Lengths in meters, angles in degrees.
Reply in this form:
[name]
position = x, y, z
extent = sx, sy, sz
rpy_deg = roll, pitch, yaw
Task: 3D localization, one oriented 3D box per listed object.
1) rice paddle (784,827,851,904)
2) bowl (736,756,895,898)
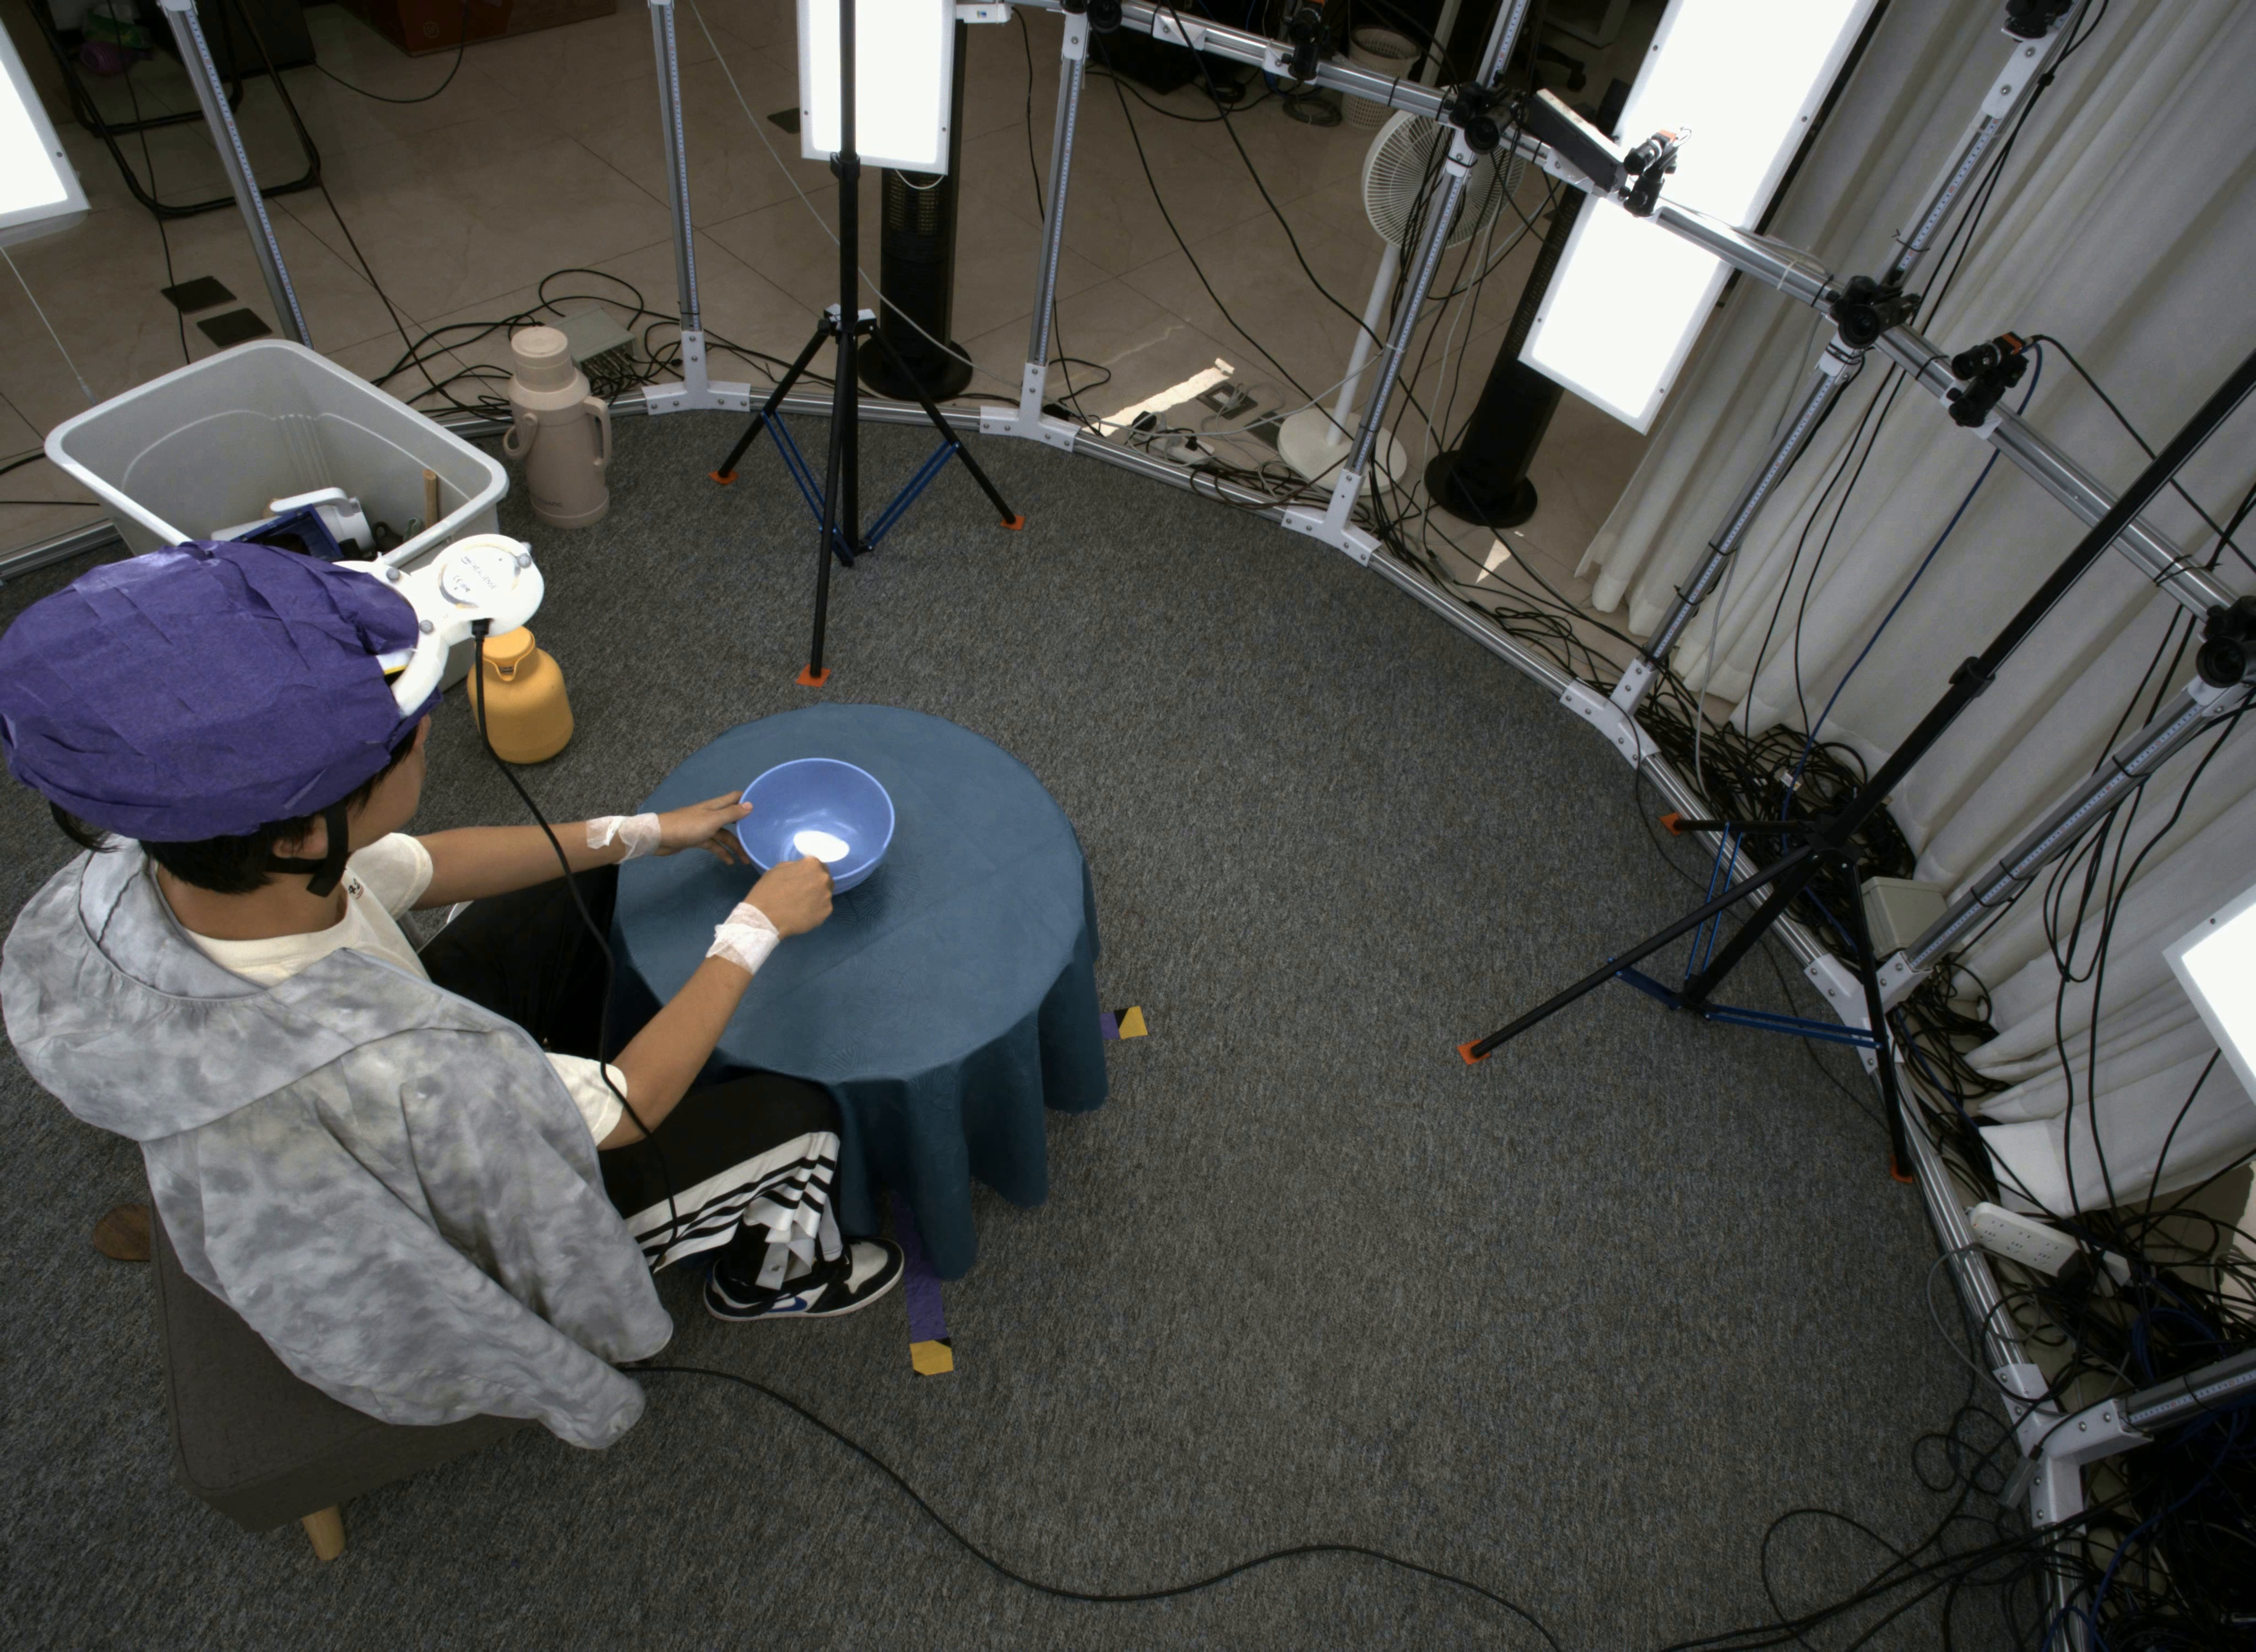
[rice paddle]
position = -0.378, 0.038, 1.560
extent = 0.069, 0.030, 0.201
rpy_deg = 21, 18, -9
[bowl]
position = -0.398, 0.016, 1.658
extent = 0.196, 0.097, 0.193
rpy_deg = 9, 52, -9
